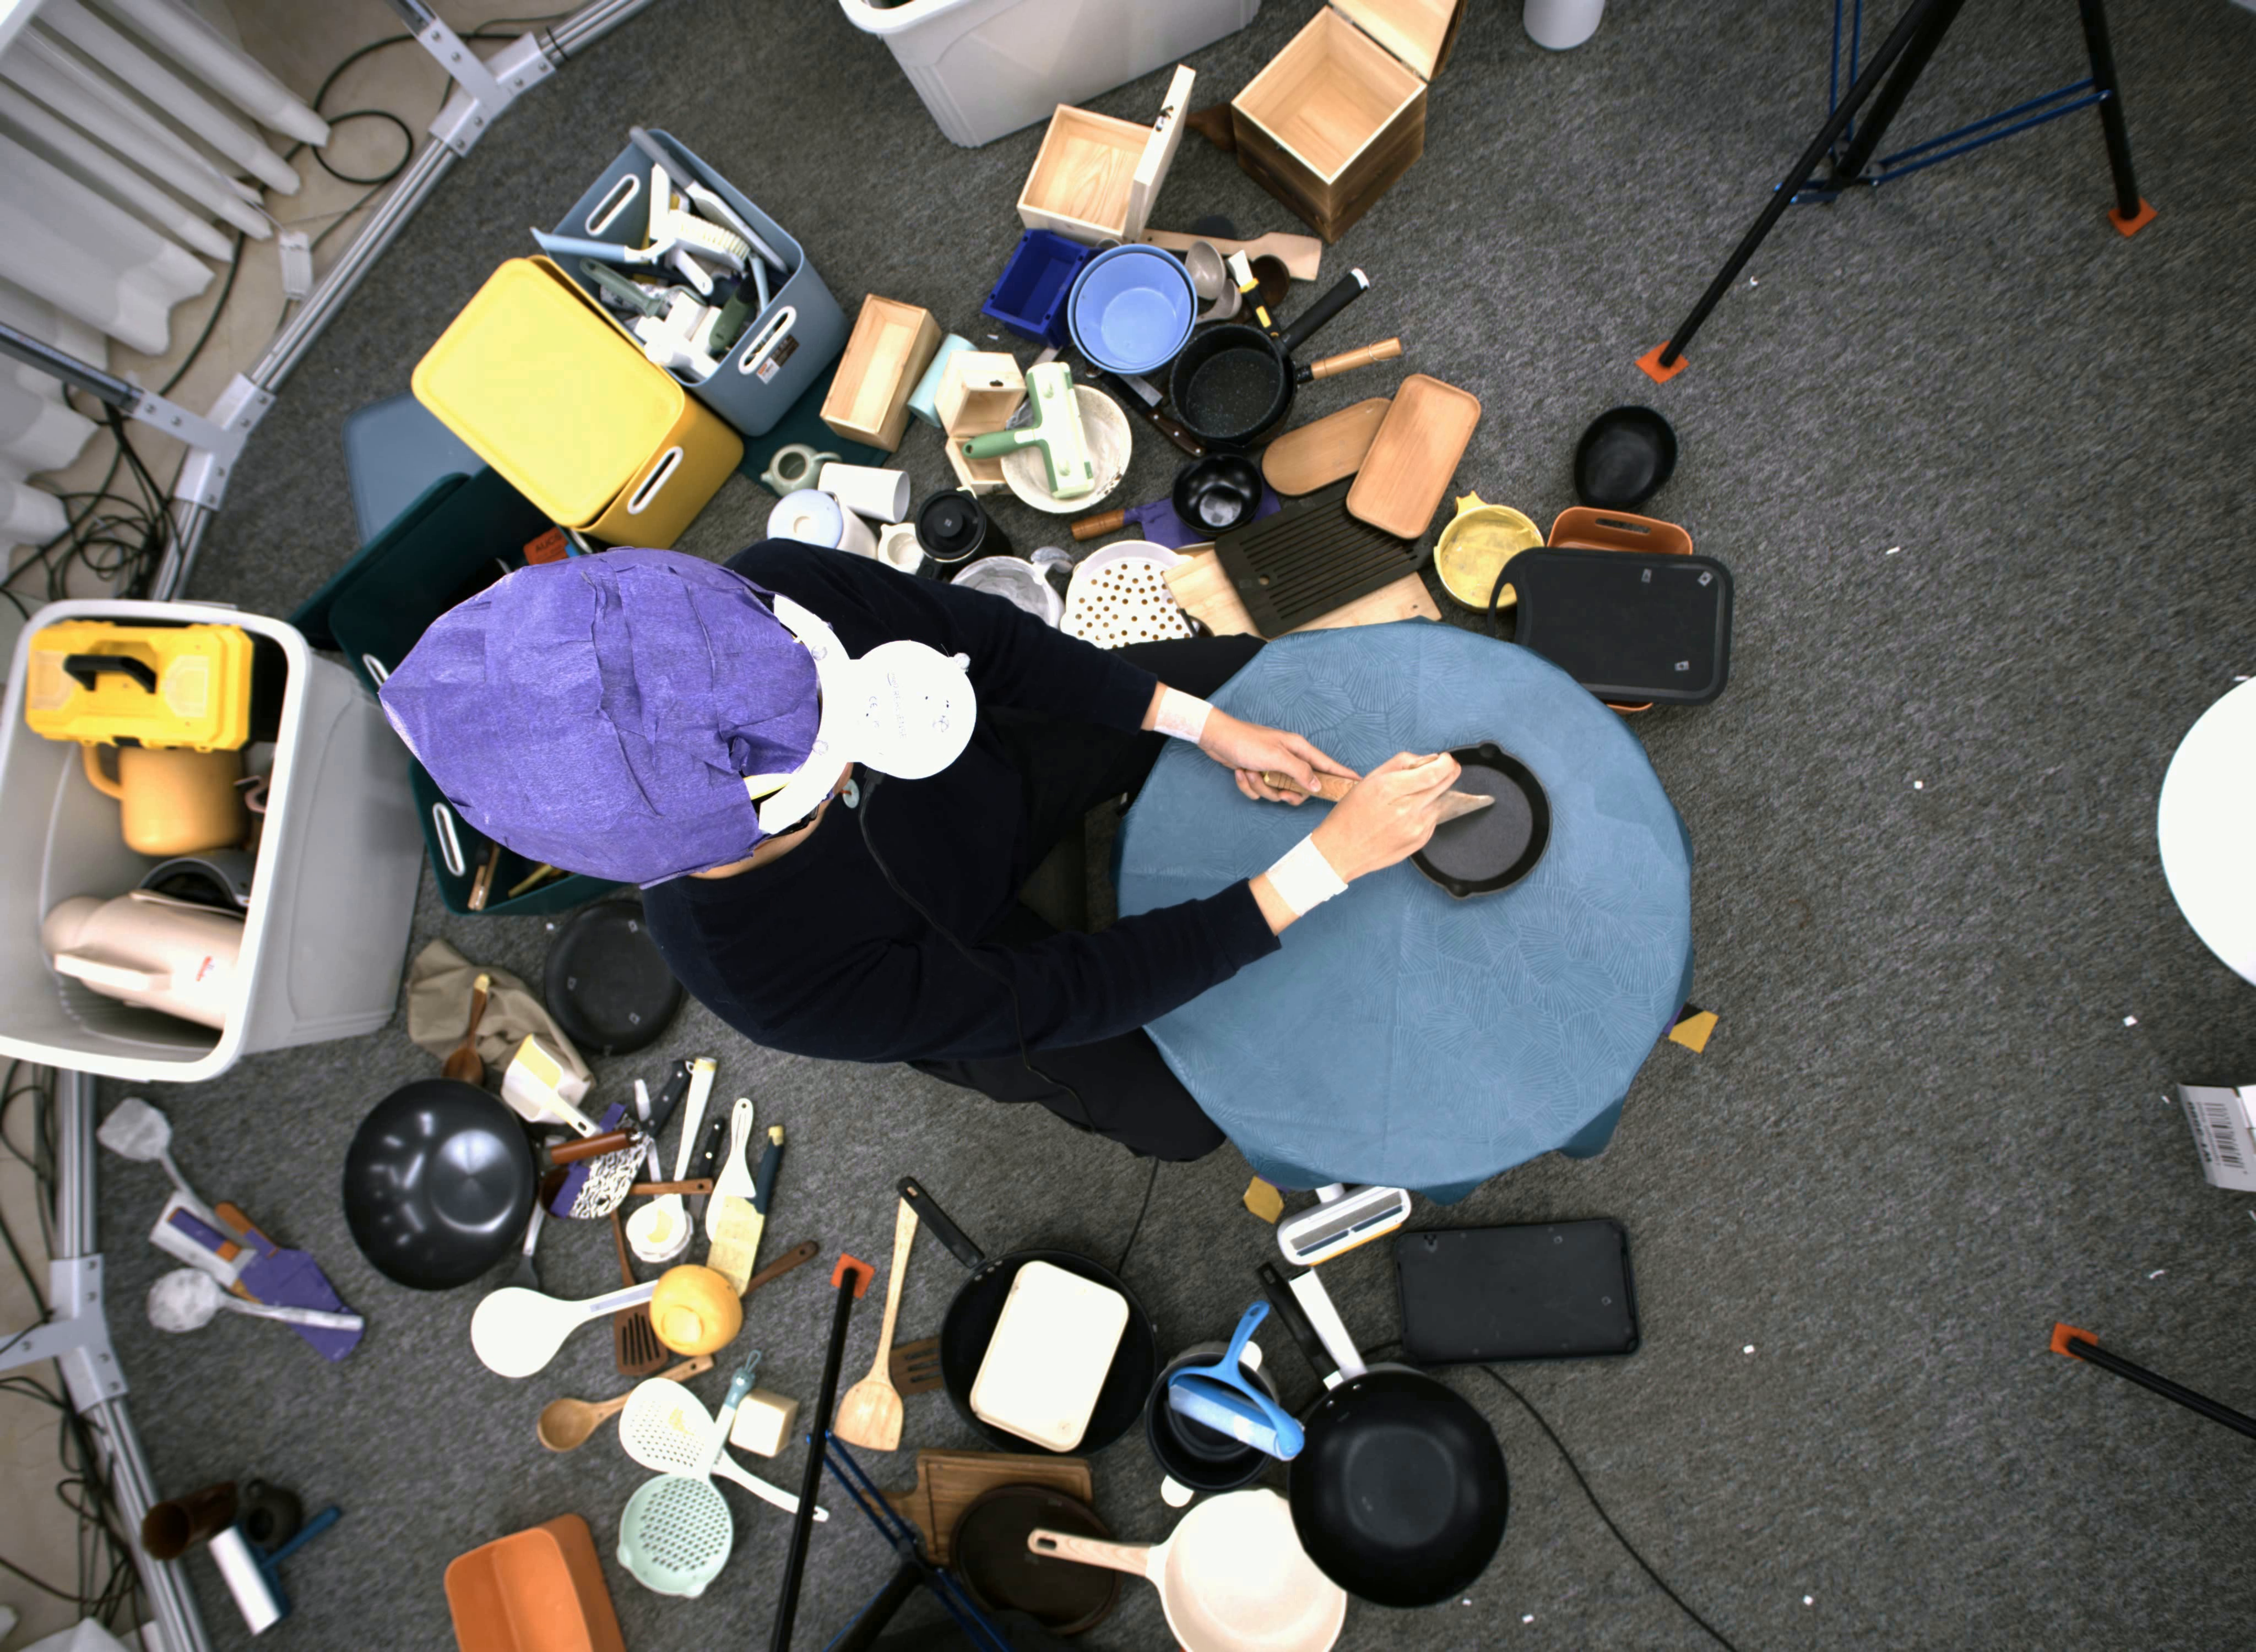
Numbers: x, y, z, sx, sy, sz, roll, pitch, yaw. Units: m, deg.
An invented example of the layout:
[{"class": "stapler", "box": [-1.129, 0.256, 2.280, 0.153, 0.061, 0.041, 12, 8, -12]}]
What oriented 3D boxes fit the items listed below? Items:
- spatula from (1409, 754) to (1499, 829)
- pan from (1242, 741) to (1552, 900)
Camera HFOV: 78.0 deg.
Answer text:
[{"class": "spatula", "box": [0.300, -0.034, 1.299, 0.081, 0.328, 0.016, -23, 74, 16]}, {"class": "pan", "box": [0.278, -0.029, 1.438, 0.324, 0.049, 0.168, 15, 89, 10]}]
